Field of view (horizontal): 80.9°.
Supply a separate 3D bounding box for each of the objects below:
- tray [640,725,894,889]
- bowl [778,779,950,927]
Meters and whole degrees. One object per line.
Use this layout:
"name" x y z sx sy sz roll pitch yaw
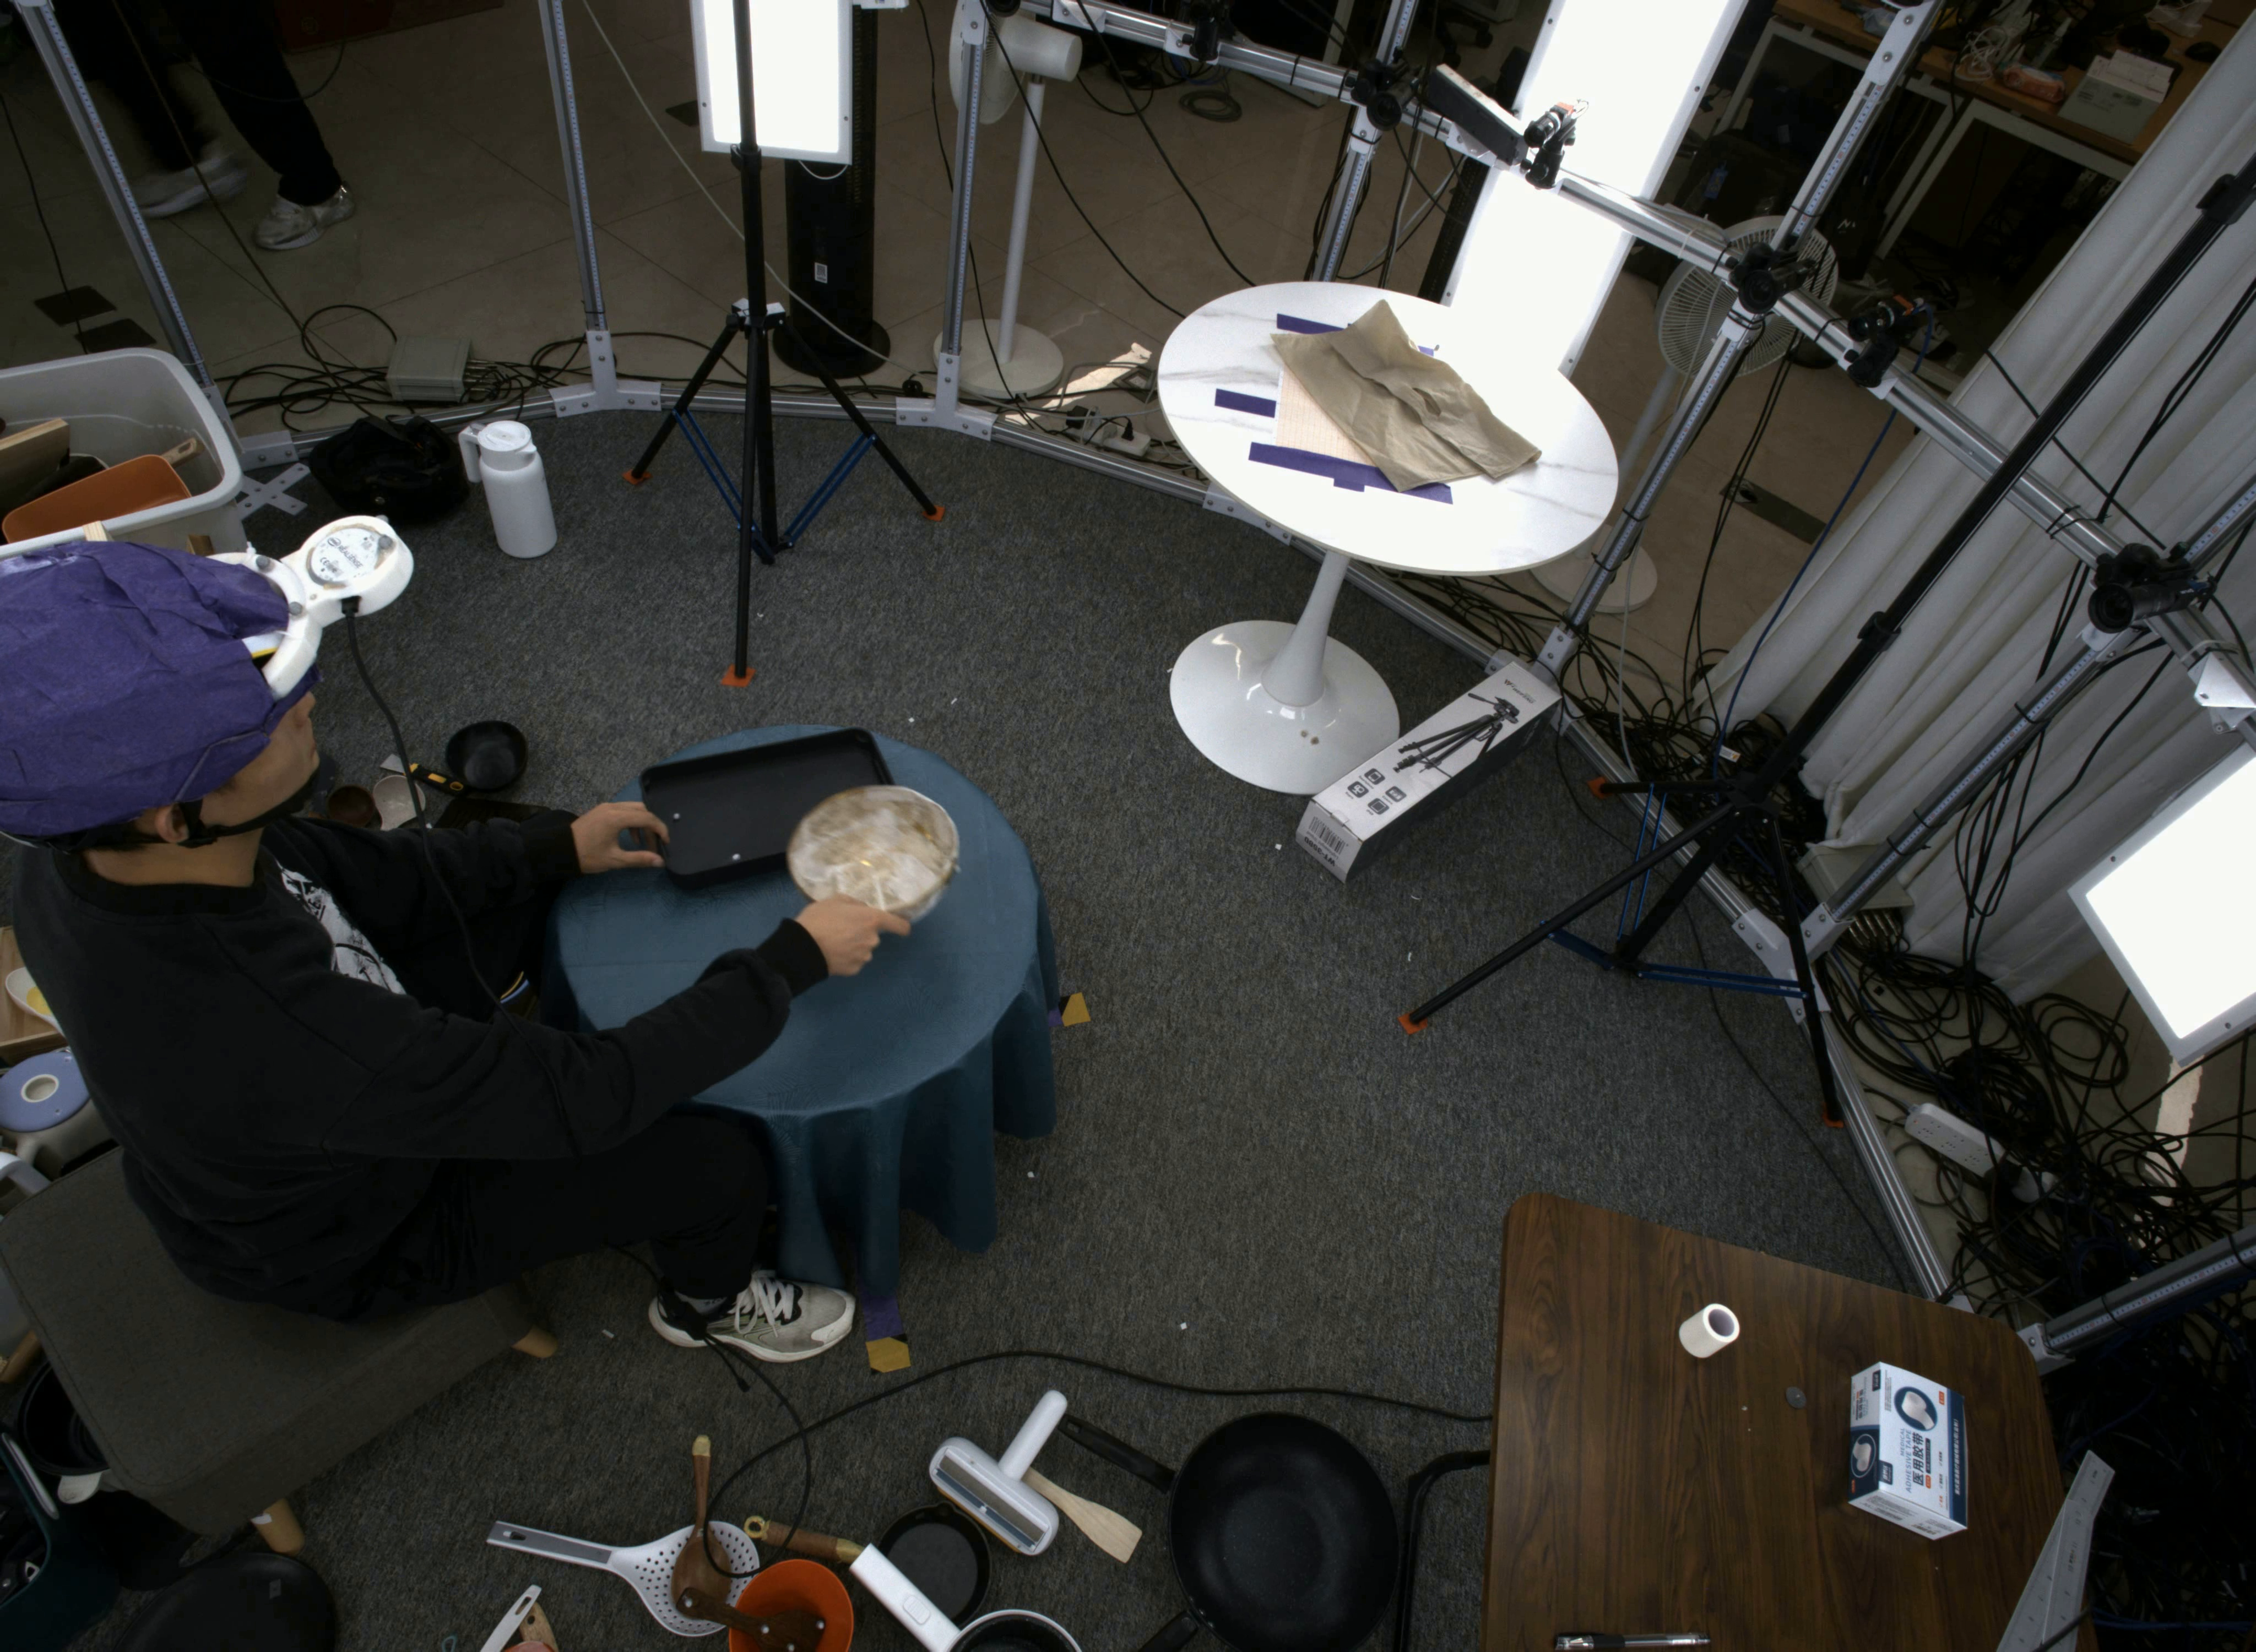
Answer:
"tray" -0.465 -0.031 1.703 0.320 0.037 0.180 -13 60 -27
"bowl" -0.317 0.047 1.577 0.213 0.097 0.210 3 50 -2
